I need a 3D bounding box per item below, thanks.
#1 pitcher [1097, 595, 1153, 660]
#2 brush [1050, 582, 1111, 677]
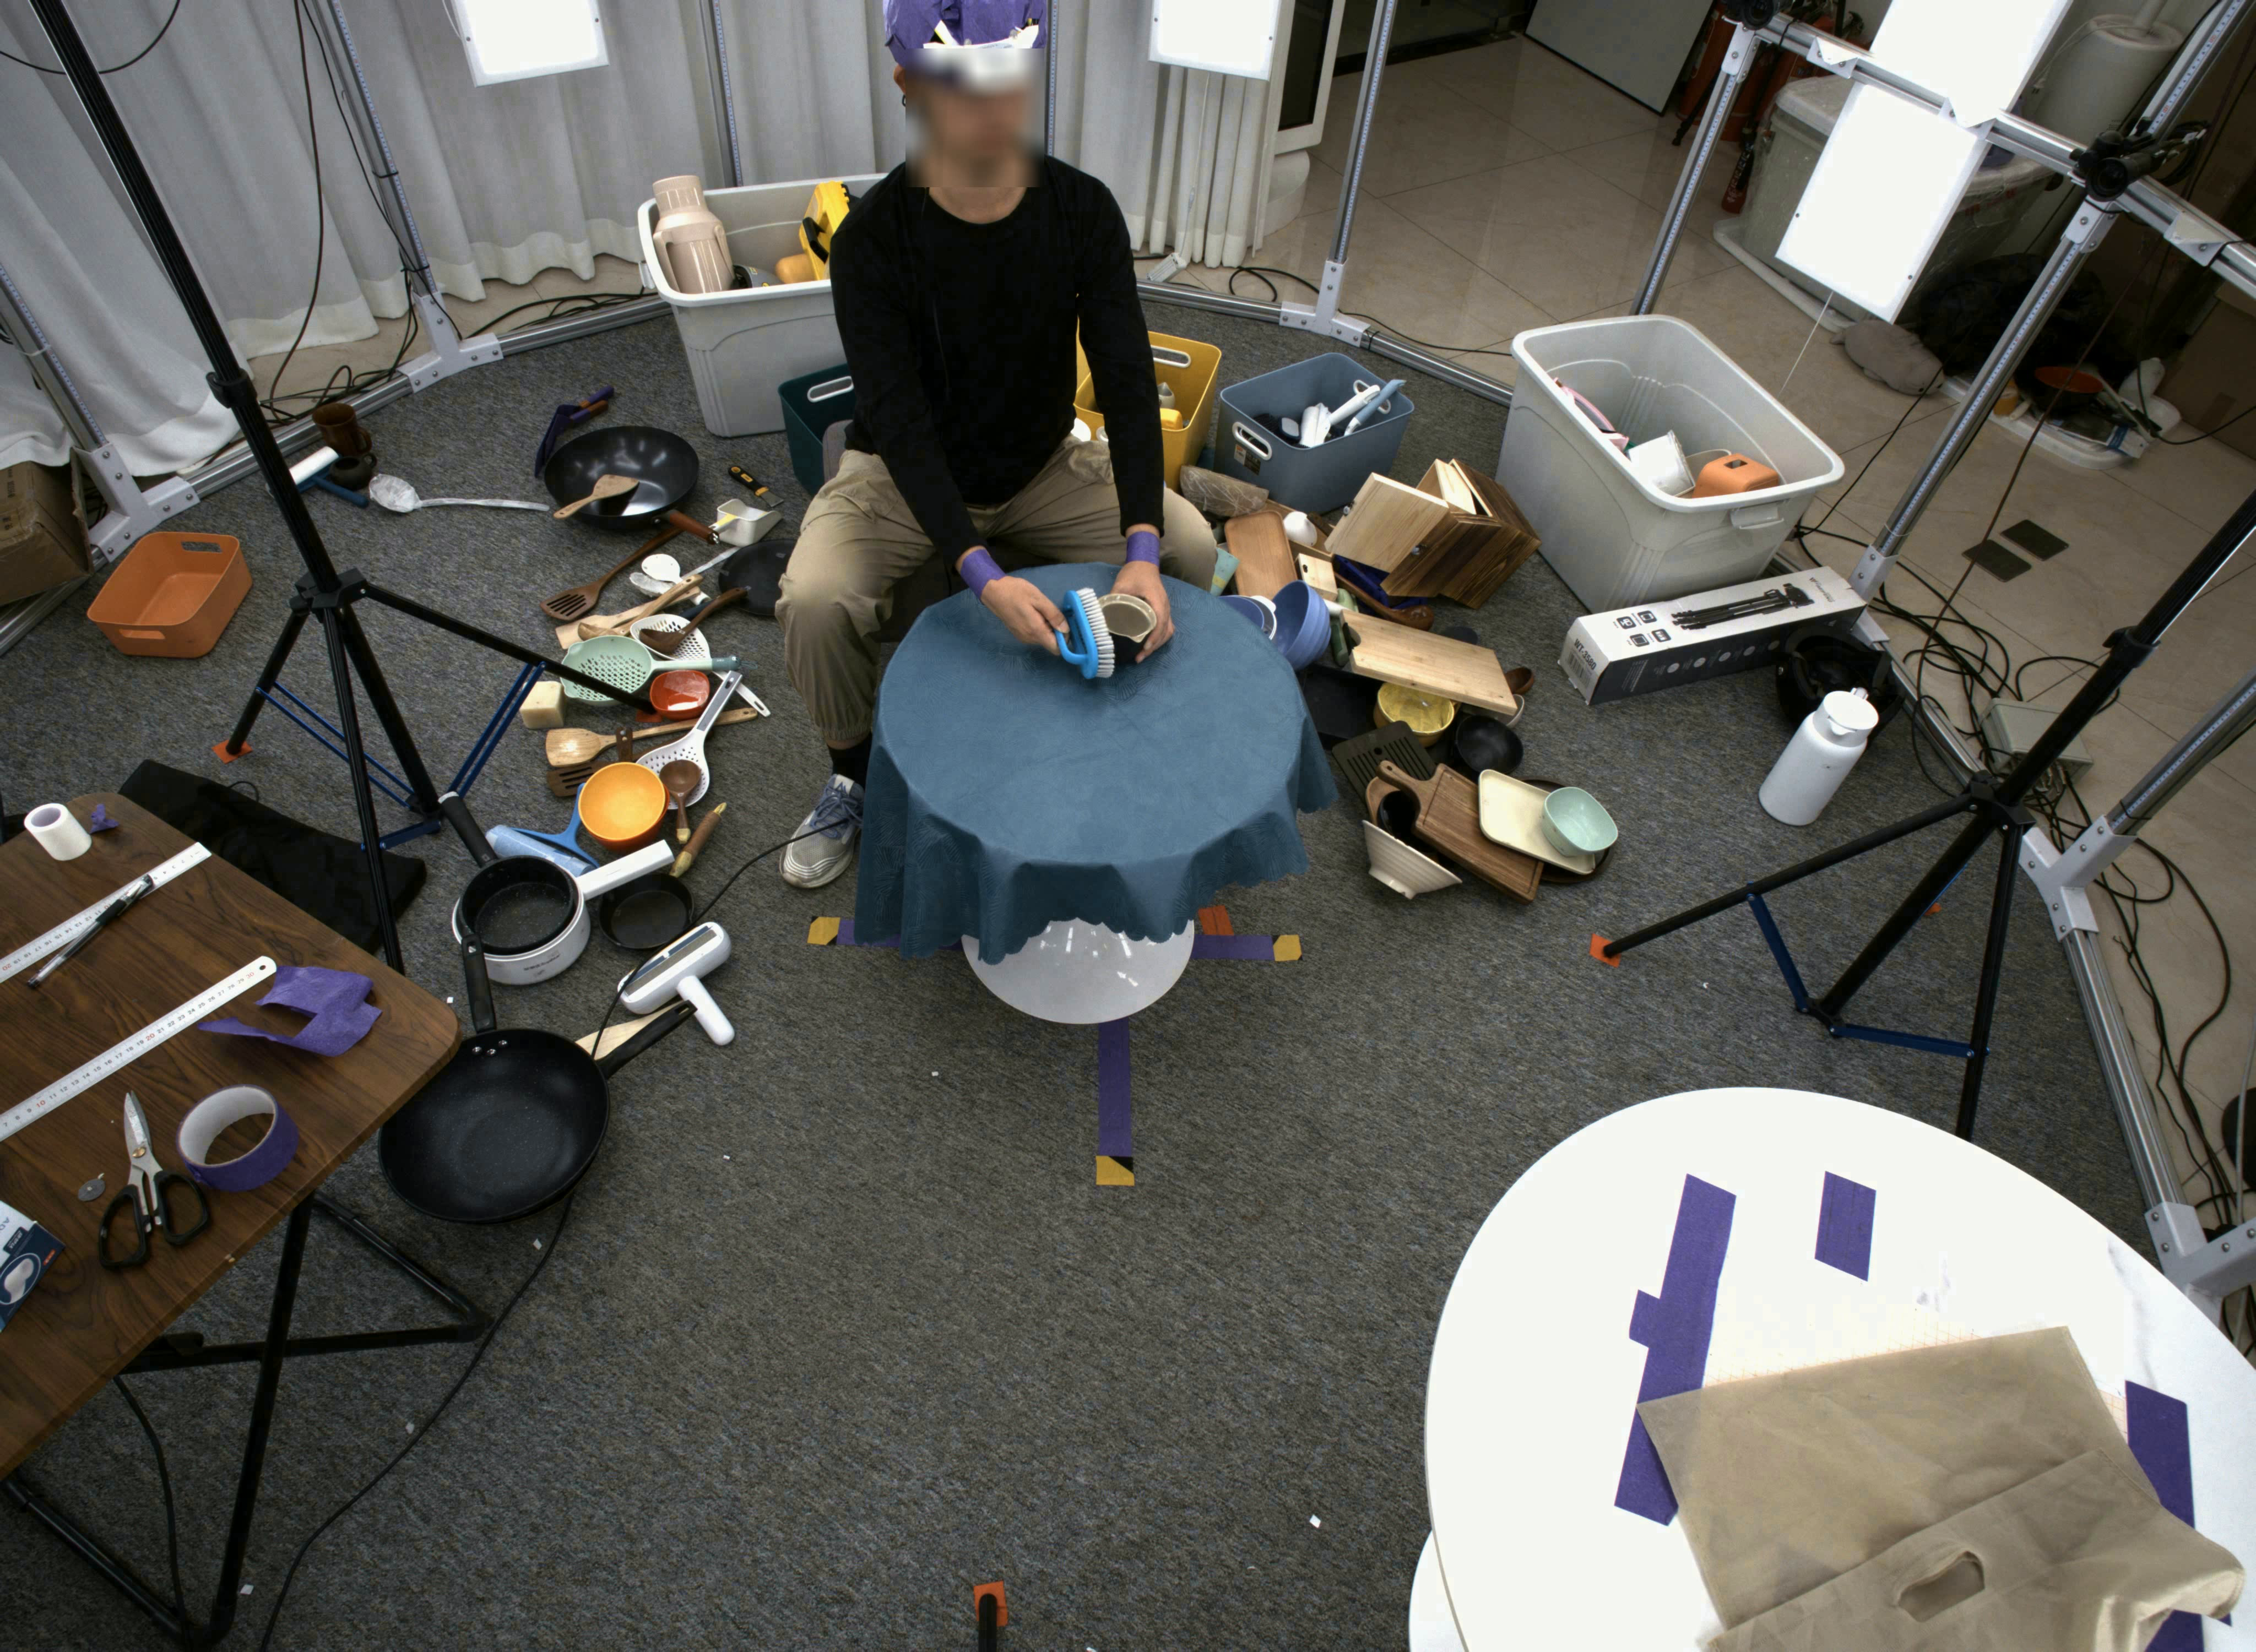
[{"bbox_3d":[-0.008,-0.280,1.857,0.083,0.070,0.098,-4,51,-19],"label":"pitcher"},{"bbox_3d":[-0.072,-0.274,1.815,0.064,0.083,0.144,-11,66,-16],"label":"brush"}]
